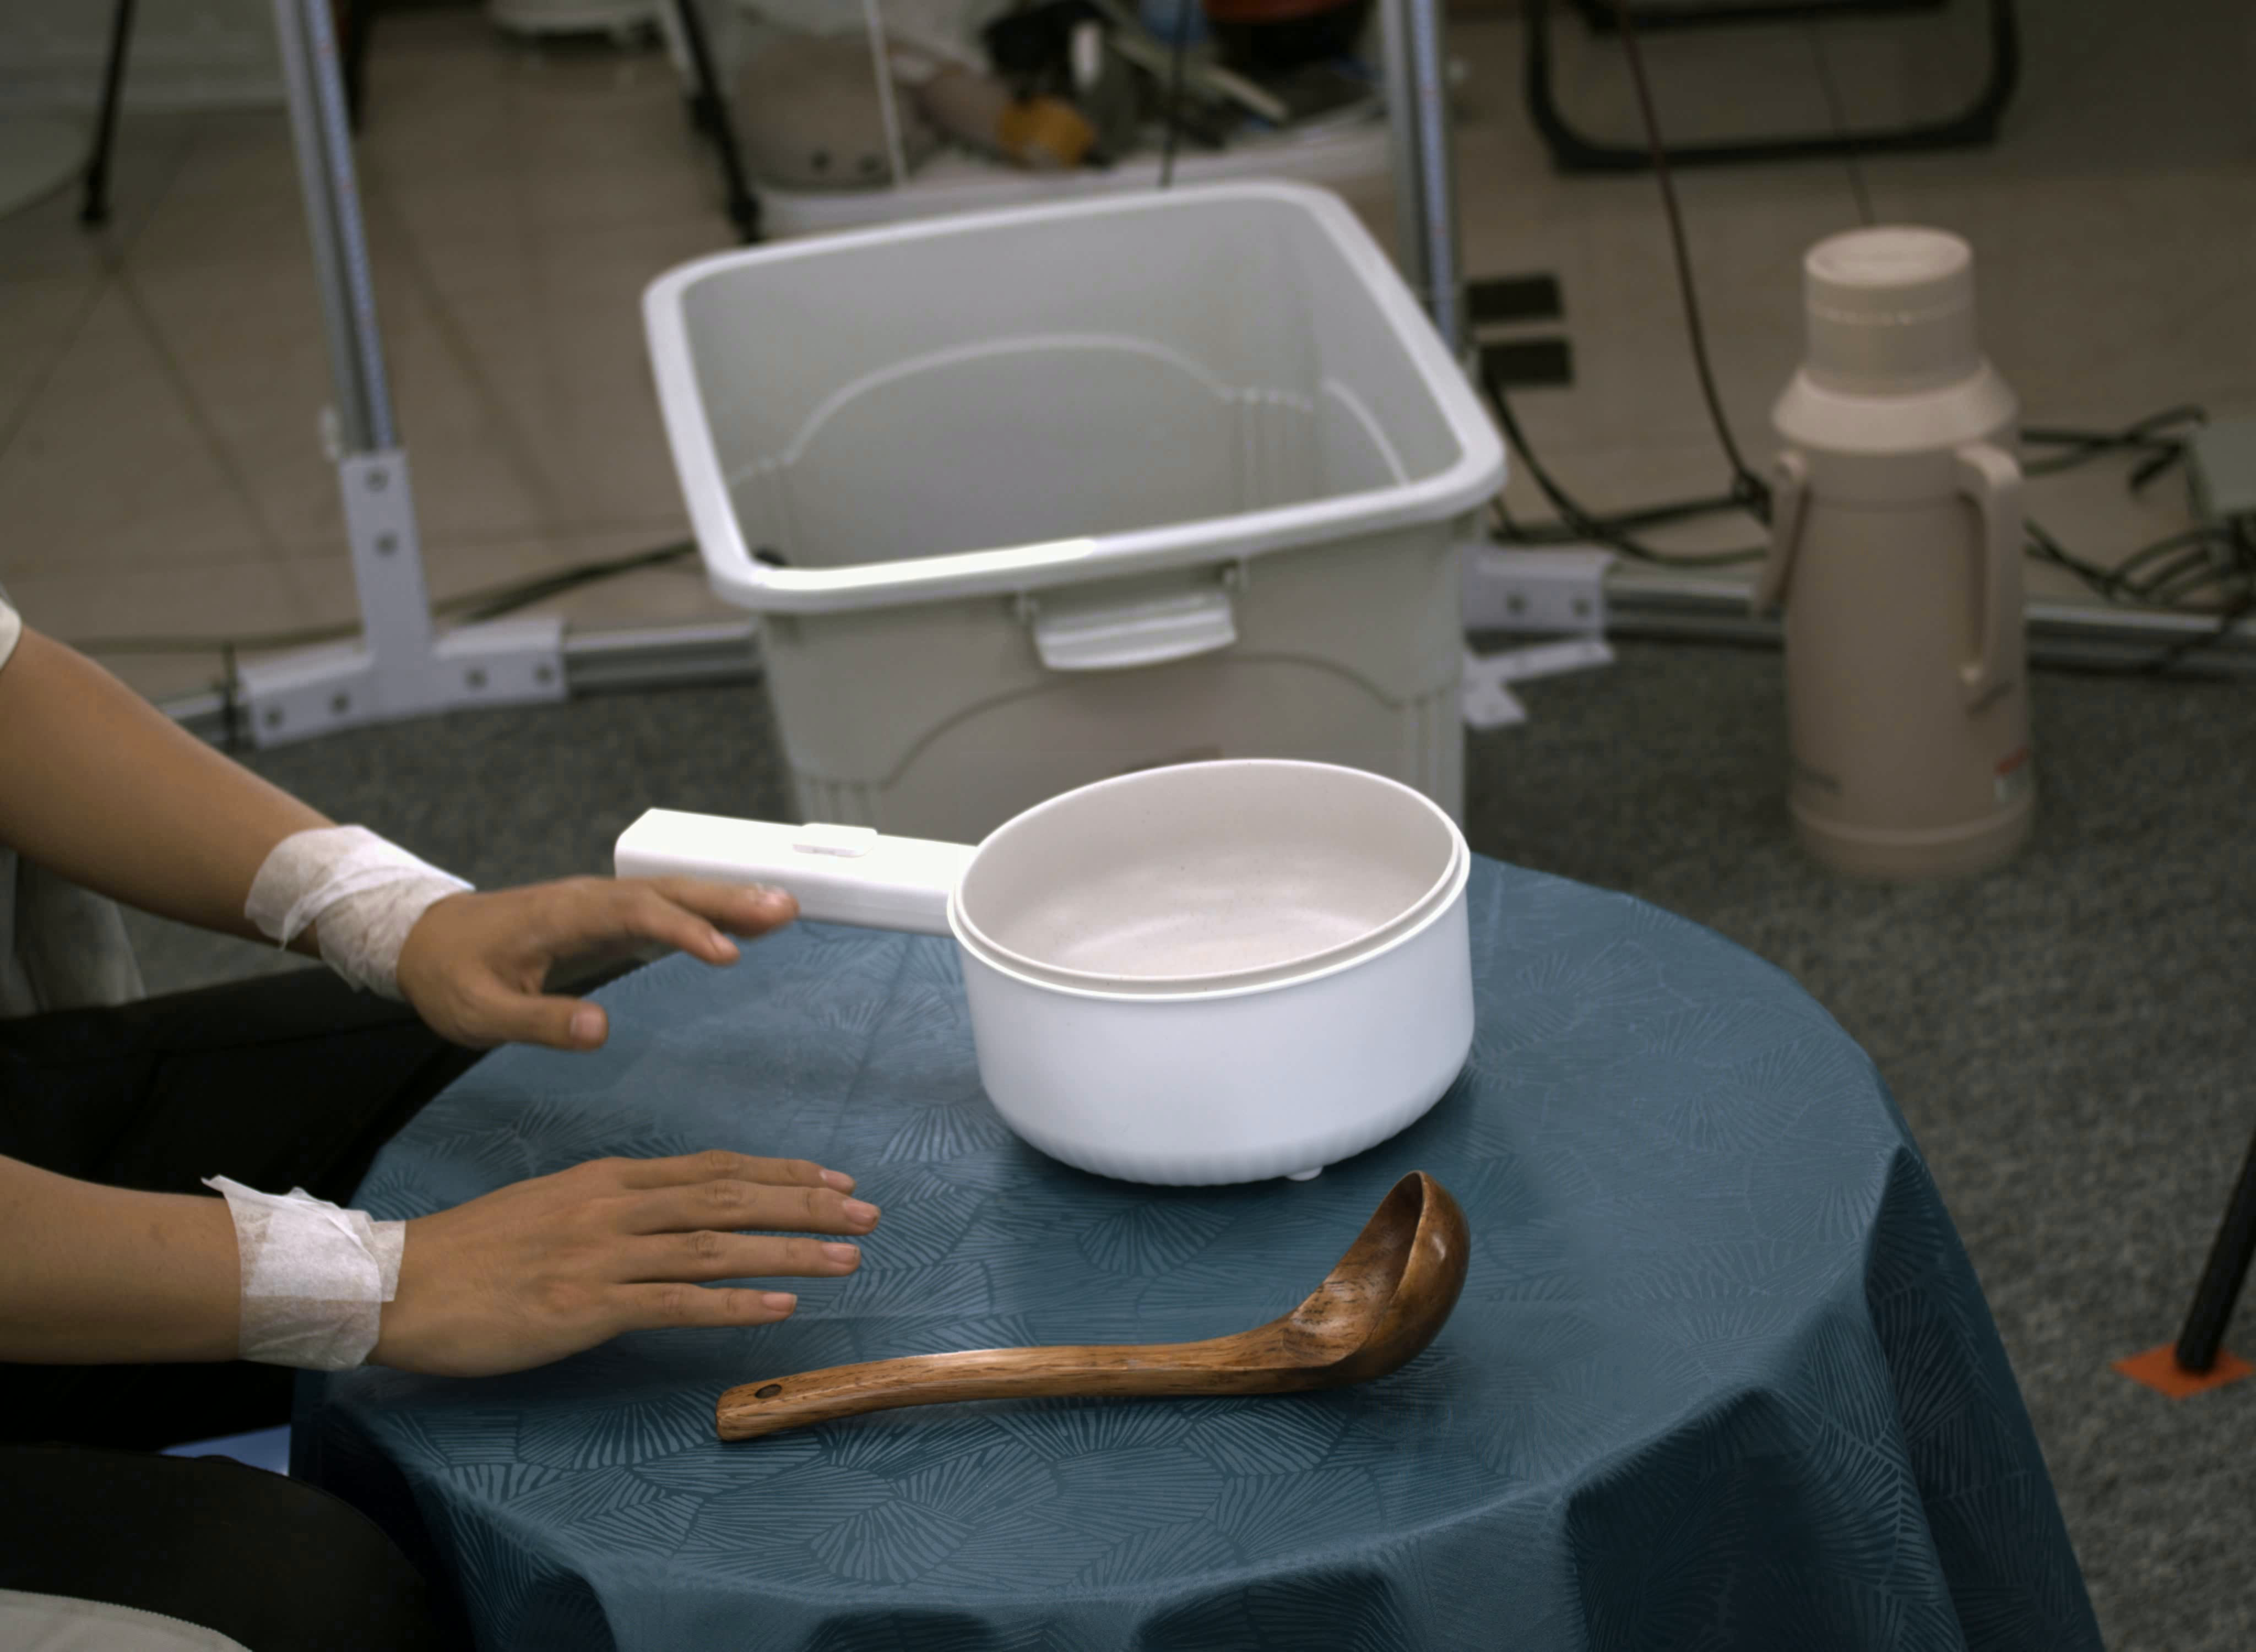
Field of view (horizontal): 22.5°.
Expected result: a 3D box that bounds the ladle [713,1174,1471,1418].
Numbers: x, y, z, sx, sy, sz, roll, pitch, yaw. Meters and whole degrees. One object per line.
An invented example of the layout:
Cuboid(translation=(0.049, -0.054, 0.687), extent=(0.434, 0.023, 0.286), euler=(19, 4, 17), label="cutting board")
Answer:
Cuboid(translation=(-0.015, 0.167, 2.000), extent=(0.273, 0.077, 0.081), euler=(-3, 17, 6), label="ladle")

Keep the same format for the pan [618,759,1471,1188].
Cuboid(translation=(-0.035, 0.054, 2.223), extent=(0.353, 0.104, 0.198), euler=(5, 28, 25), label="pan")
